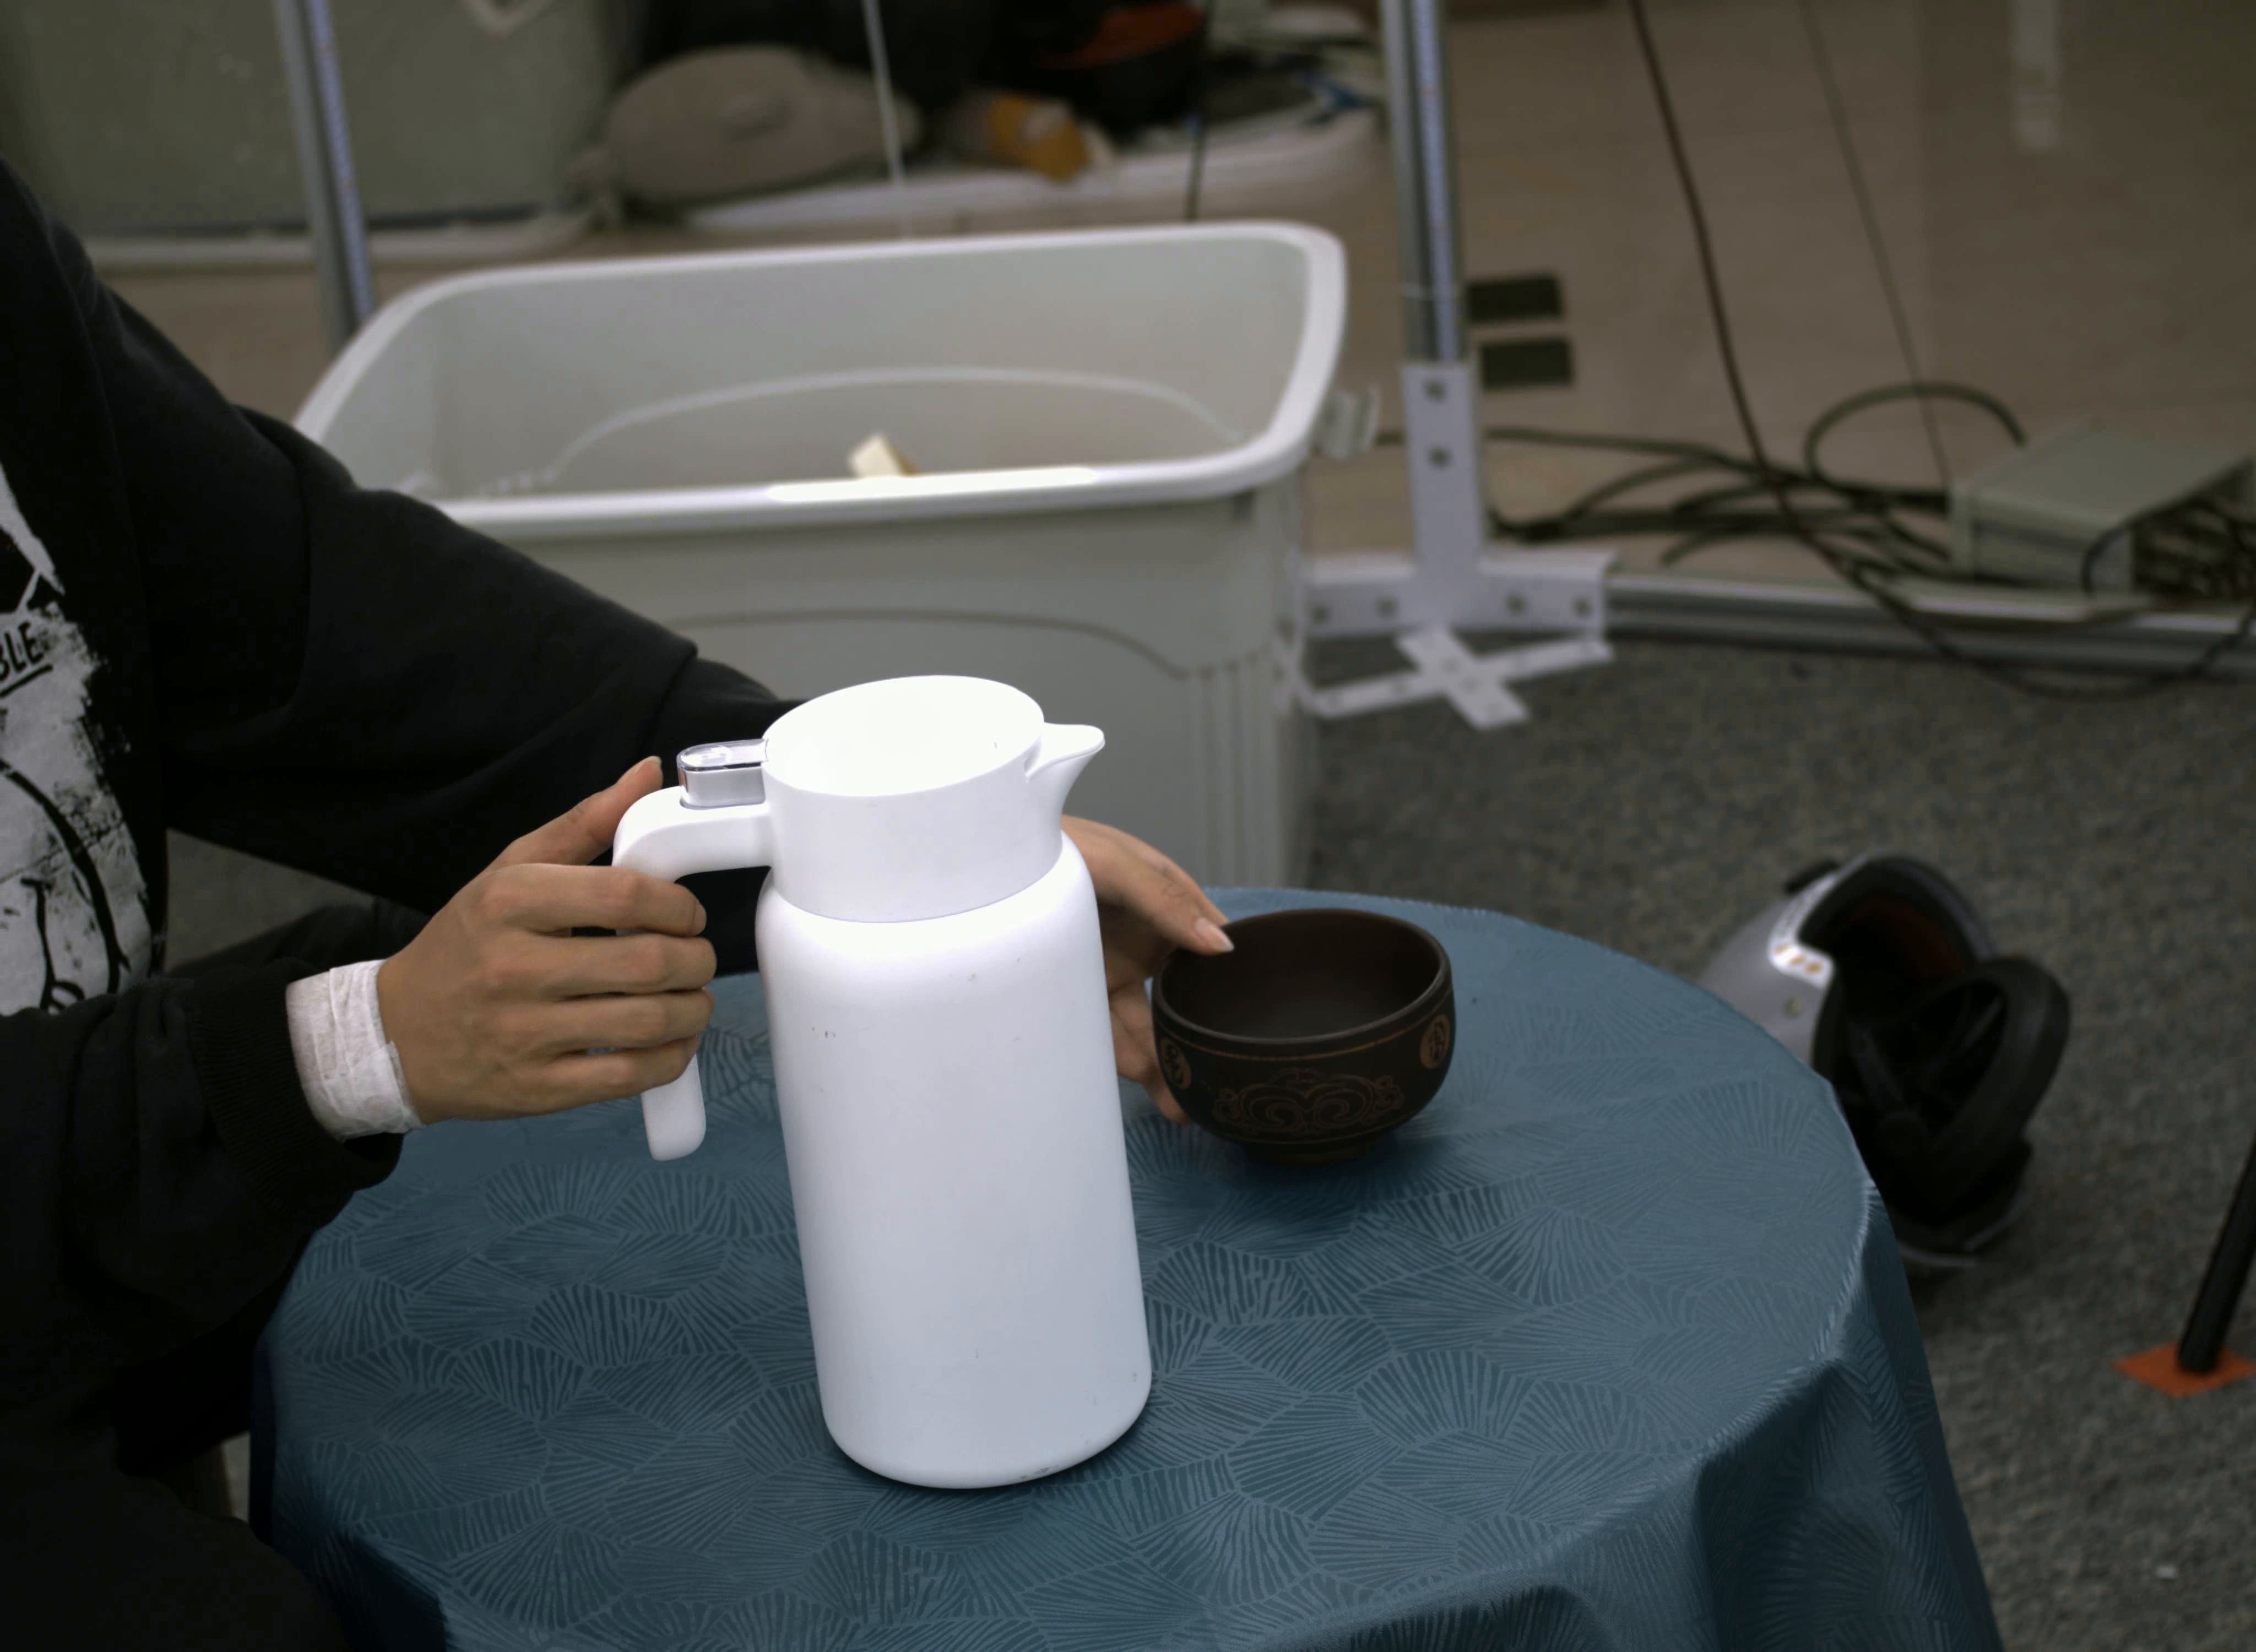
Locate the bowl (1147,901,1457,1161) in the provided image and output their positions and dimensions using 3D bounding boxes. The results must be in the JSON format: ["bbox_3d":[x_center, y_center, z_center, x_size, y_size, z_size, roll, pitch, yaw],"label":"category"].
[{"bbox_3d":[0.068,0.084,2.162,0.118,0.071,0.116,-6,26,3],"label":"bowl"}]

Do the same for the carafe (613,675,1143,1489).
[{"bbox_3d":[-0.081,0.091,1.953,0.172,0.273,0.122,-7,28,-1],"label":"carafe"}]
